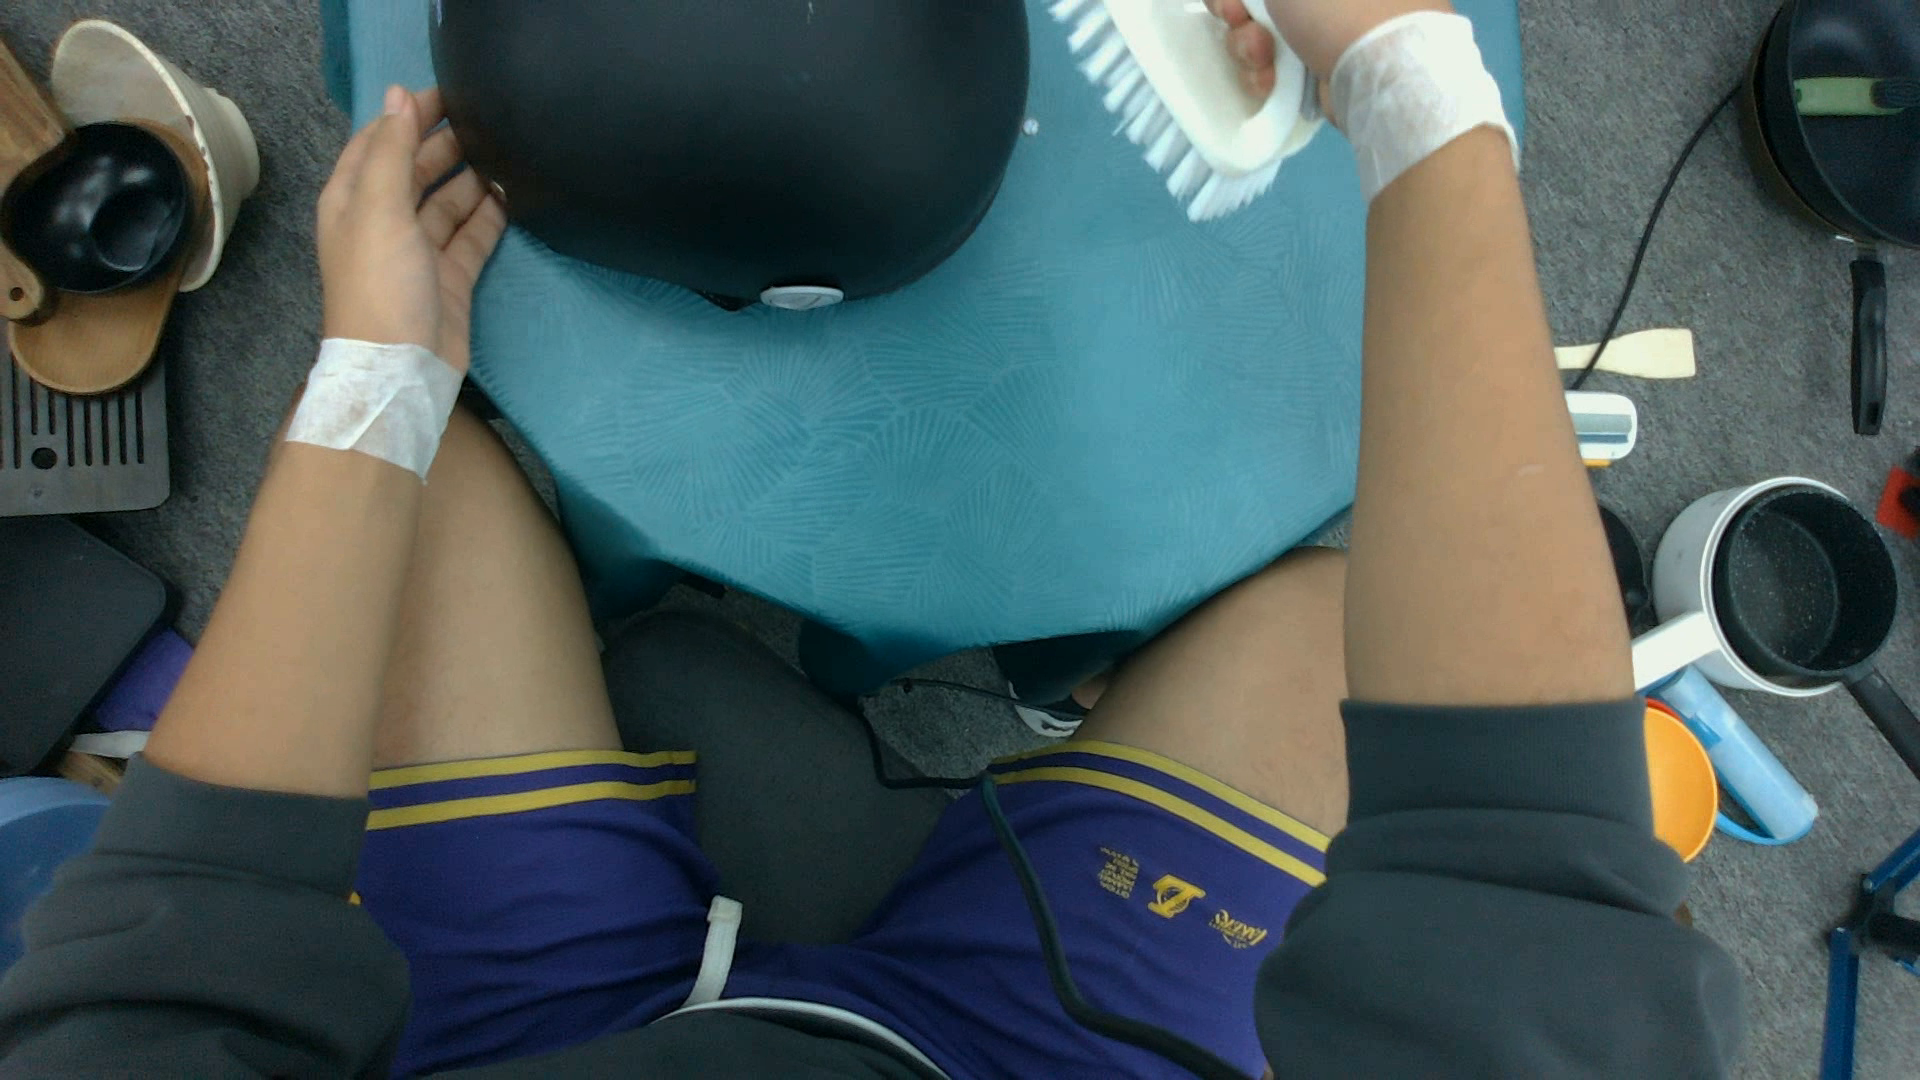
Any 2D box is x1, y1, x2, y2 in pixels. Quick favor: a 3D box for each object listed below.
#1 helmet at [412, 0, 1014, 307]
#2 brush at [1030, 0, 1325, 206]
[{"bbox_3d":[-0.097,-0.226,0.591,0.273,0.166,0.230,10,85,-13],"label":"helmet"},{"bbox_3d":[0.071,-0.220,0.515,0.062,0.094,0.175,-30,83,-33],"label":"brush"}]
